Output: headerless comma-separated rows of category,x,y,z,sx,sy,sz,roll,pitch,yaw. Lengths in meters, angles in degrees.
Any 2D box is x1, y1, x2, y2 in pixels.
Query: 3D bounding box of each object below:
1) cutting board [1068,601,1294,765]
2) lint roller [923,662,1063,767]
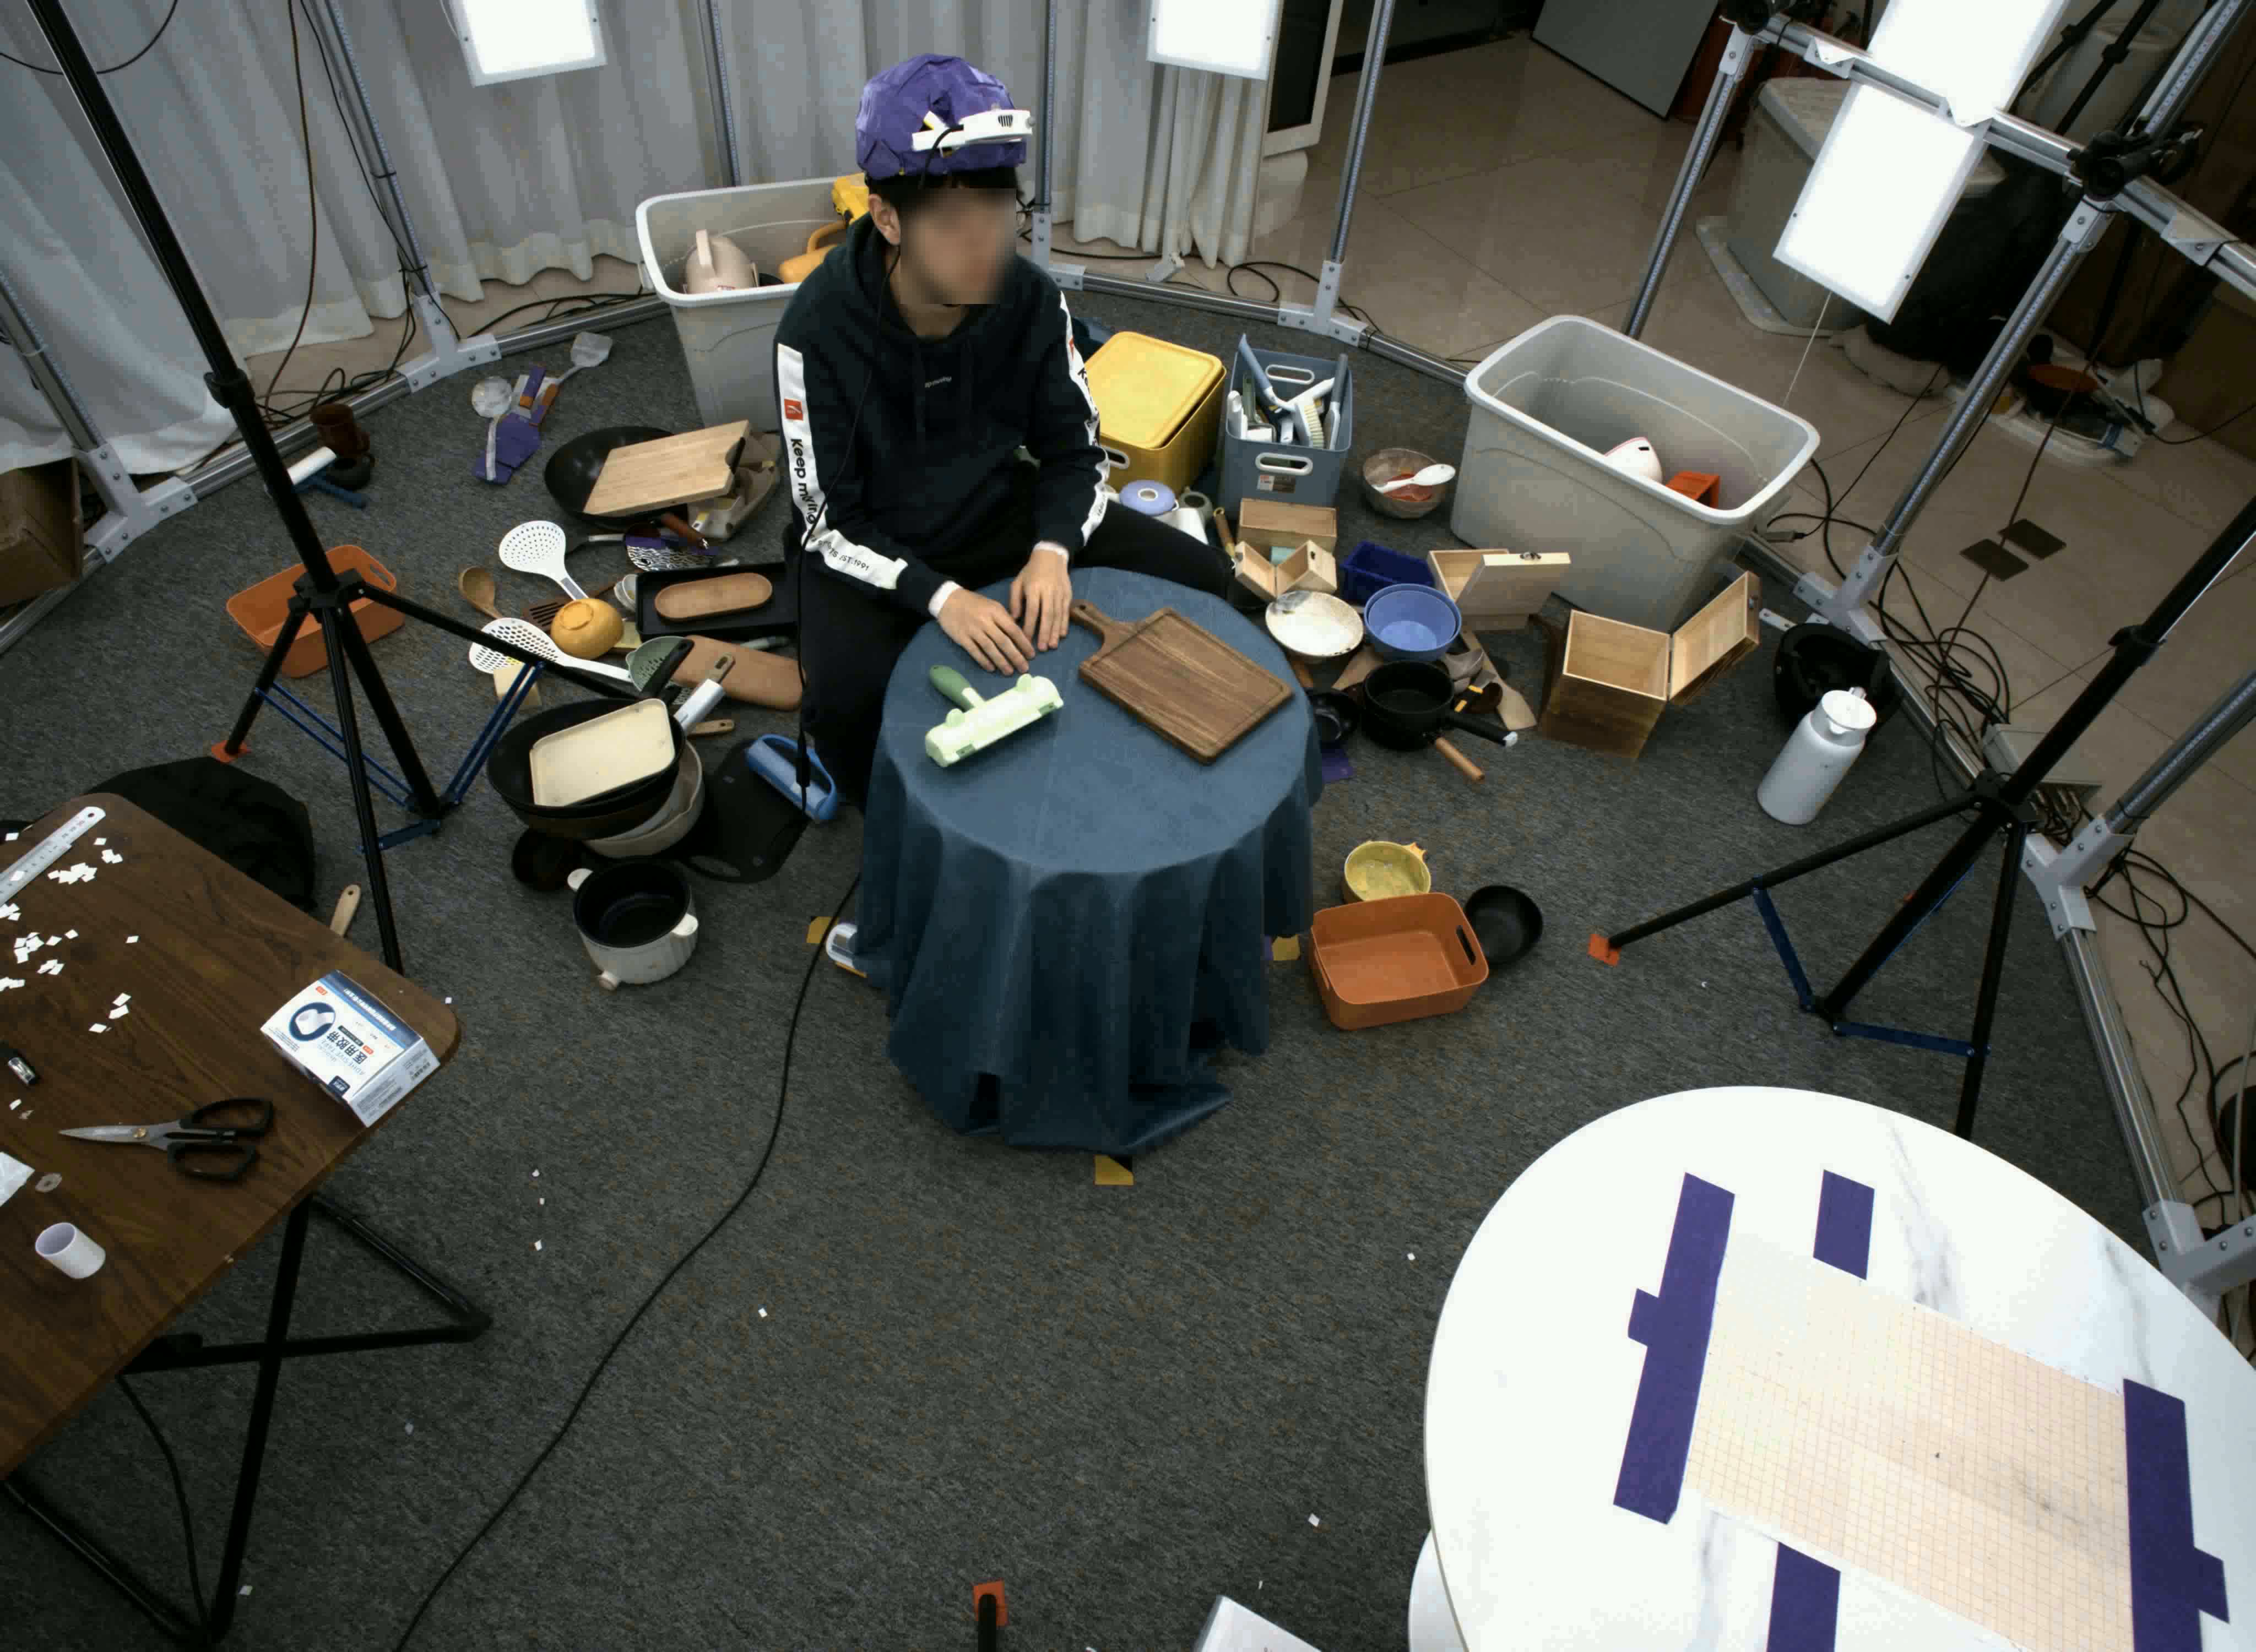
cutting board,0.047,-0.233,1.860,0.357,0.022,0.203,36,56,25
lint roller,-0.217,-0.184,1.764,0.200,0.080,0.186,-30,62,-26
